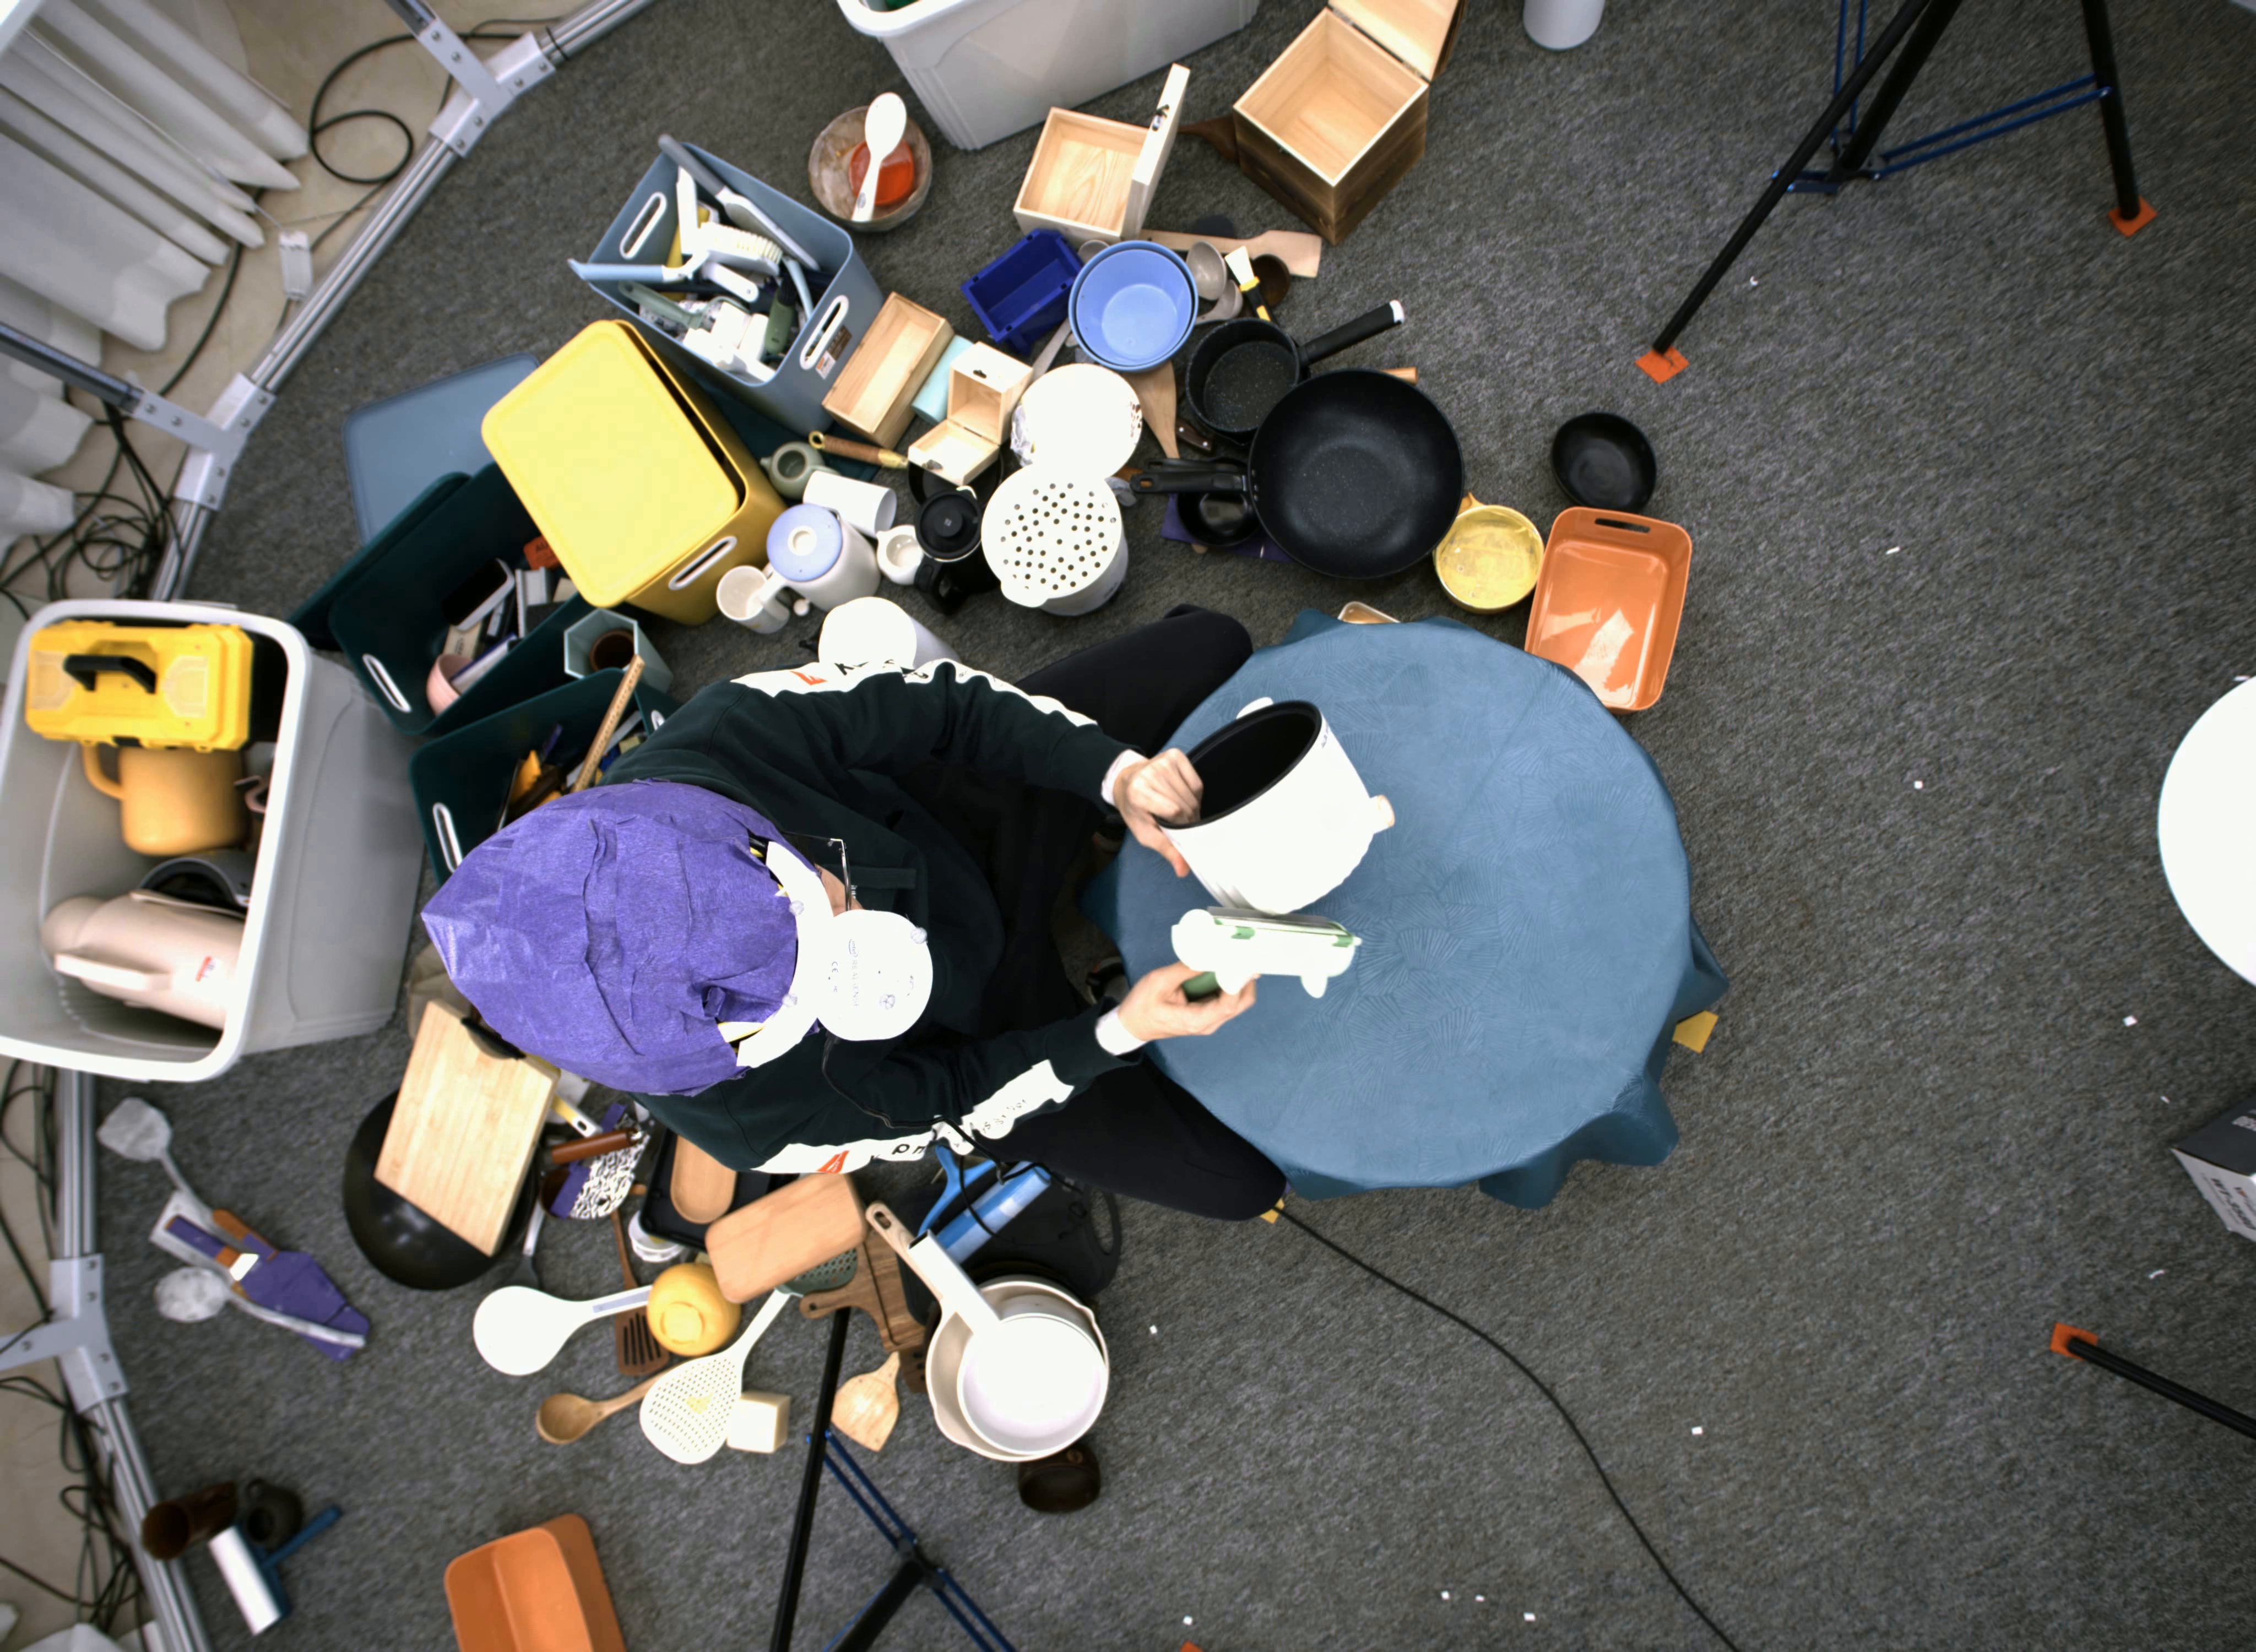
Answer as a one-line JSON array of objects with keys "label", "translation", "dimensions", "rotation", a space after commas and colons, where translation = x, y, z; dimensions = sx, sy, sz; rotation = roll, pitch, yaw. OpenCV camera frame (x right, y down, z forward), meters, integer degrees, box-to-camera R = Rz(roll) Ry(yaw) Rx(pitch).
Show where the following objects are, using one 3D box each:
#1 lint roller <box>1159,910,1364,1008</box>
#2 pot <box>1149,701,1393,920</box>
[{"label": "lint roller", "translation": [0.099, 0.145, 1.294], "dimensions": [0.187, 0.198, 0.080], "rotation": [-42, 55, 36]}, {"label": "pot", "translation": [0.136, -0.010, 1.286], "dimensions": [0.193, 0.234, 0.144], "rotation": [-26, 116, 31]}]
